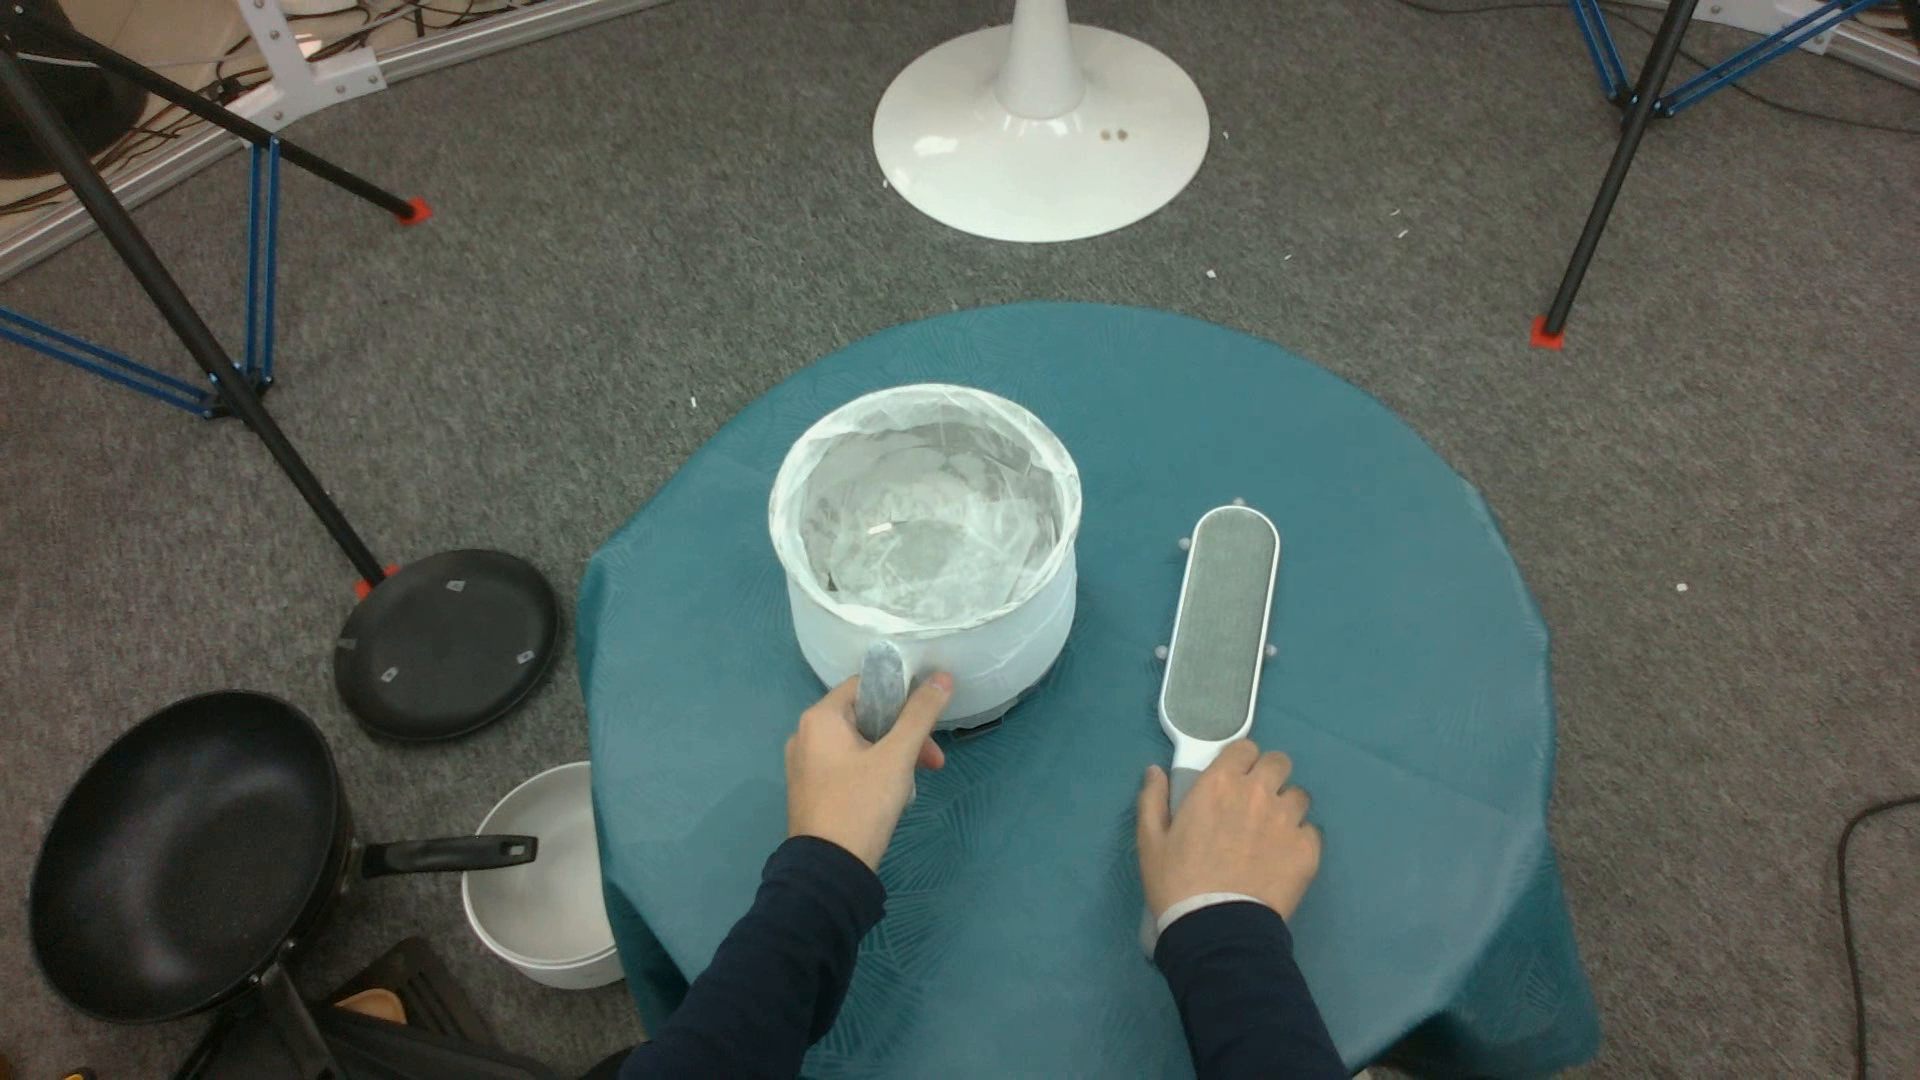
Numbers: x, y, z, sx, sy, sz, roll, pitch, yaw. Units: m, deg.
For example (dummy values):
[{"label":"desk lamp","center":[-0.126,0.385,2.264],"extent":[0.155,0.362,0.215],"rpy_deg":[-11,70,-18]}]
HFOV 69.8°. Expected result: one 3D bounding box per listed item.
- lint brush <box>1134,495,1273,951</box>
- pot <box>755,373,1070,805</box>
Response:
[{"label":"lint brush","center":[0.142,0.096,0.825],"extent":[0.060,0.021,0.310],"rpy_deg":[14,56,5]},{"label":"pot","center":[-0.028,0.031,0.808],"extent":[0.178,0.136,0.235],"rpy_deg":[6,54,9]}]
